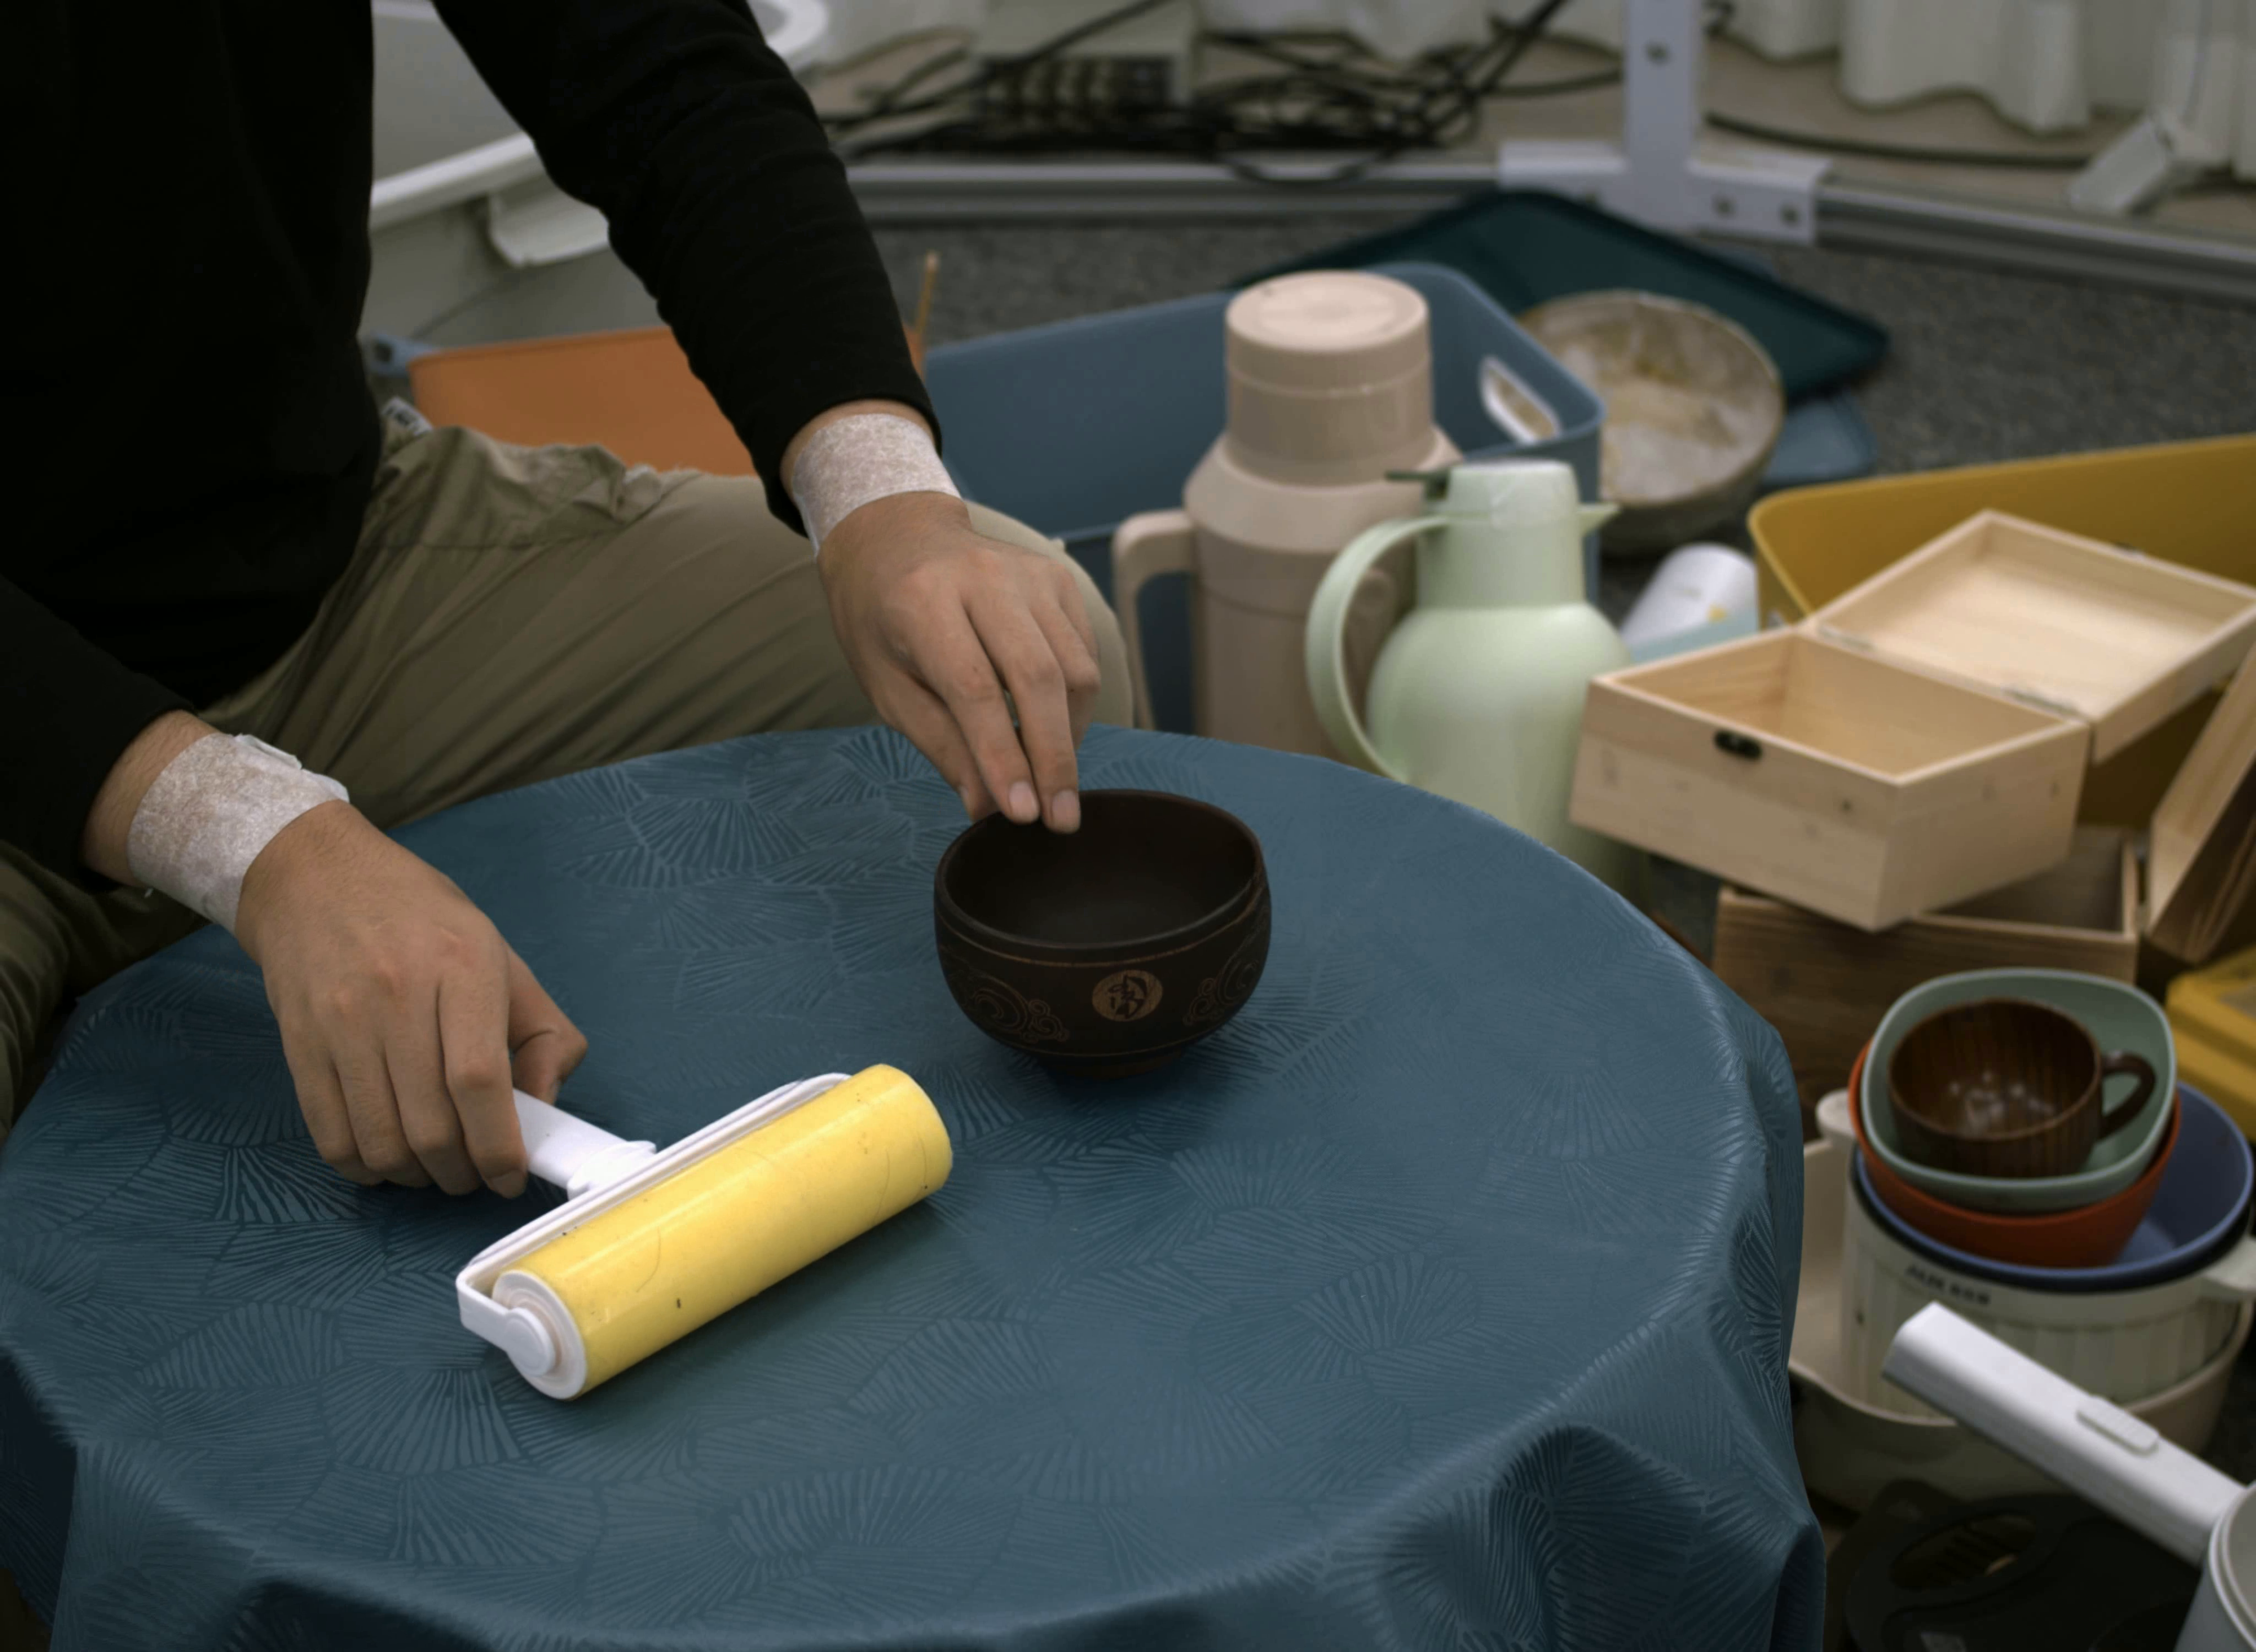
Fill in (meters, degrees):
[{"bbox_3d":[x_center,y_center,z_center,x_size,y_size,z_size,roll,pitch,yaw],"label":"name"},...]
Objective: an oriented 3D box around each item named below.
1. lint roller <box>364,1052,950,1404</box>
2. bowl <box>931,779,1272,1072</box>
[{"bbox_3d":[-0.183,0.105,1.847,0.192,0.051,0.176,29,40,32],"label":"lint roller"},{"bbox_3d":[-0.009,0.041,1.937,0.117,0.069,0.120,-1,27,1],"label":"bowl"}]
